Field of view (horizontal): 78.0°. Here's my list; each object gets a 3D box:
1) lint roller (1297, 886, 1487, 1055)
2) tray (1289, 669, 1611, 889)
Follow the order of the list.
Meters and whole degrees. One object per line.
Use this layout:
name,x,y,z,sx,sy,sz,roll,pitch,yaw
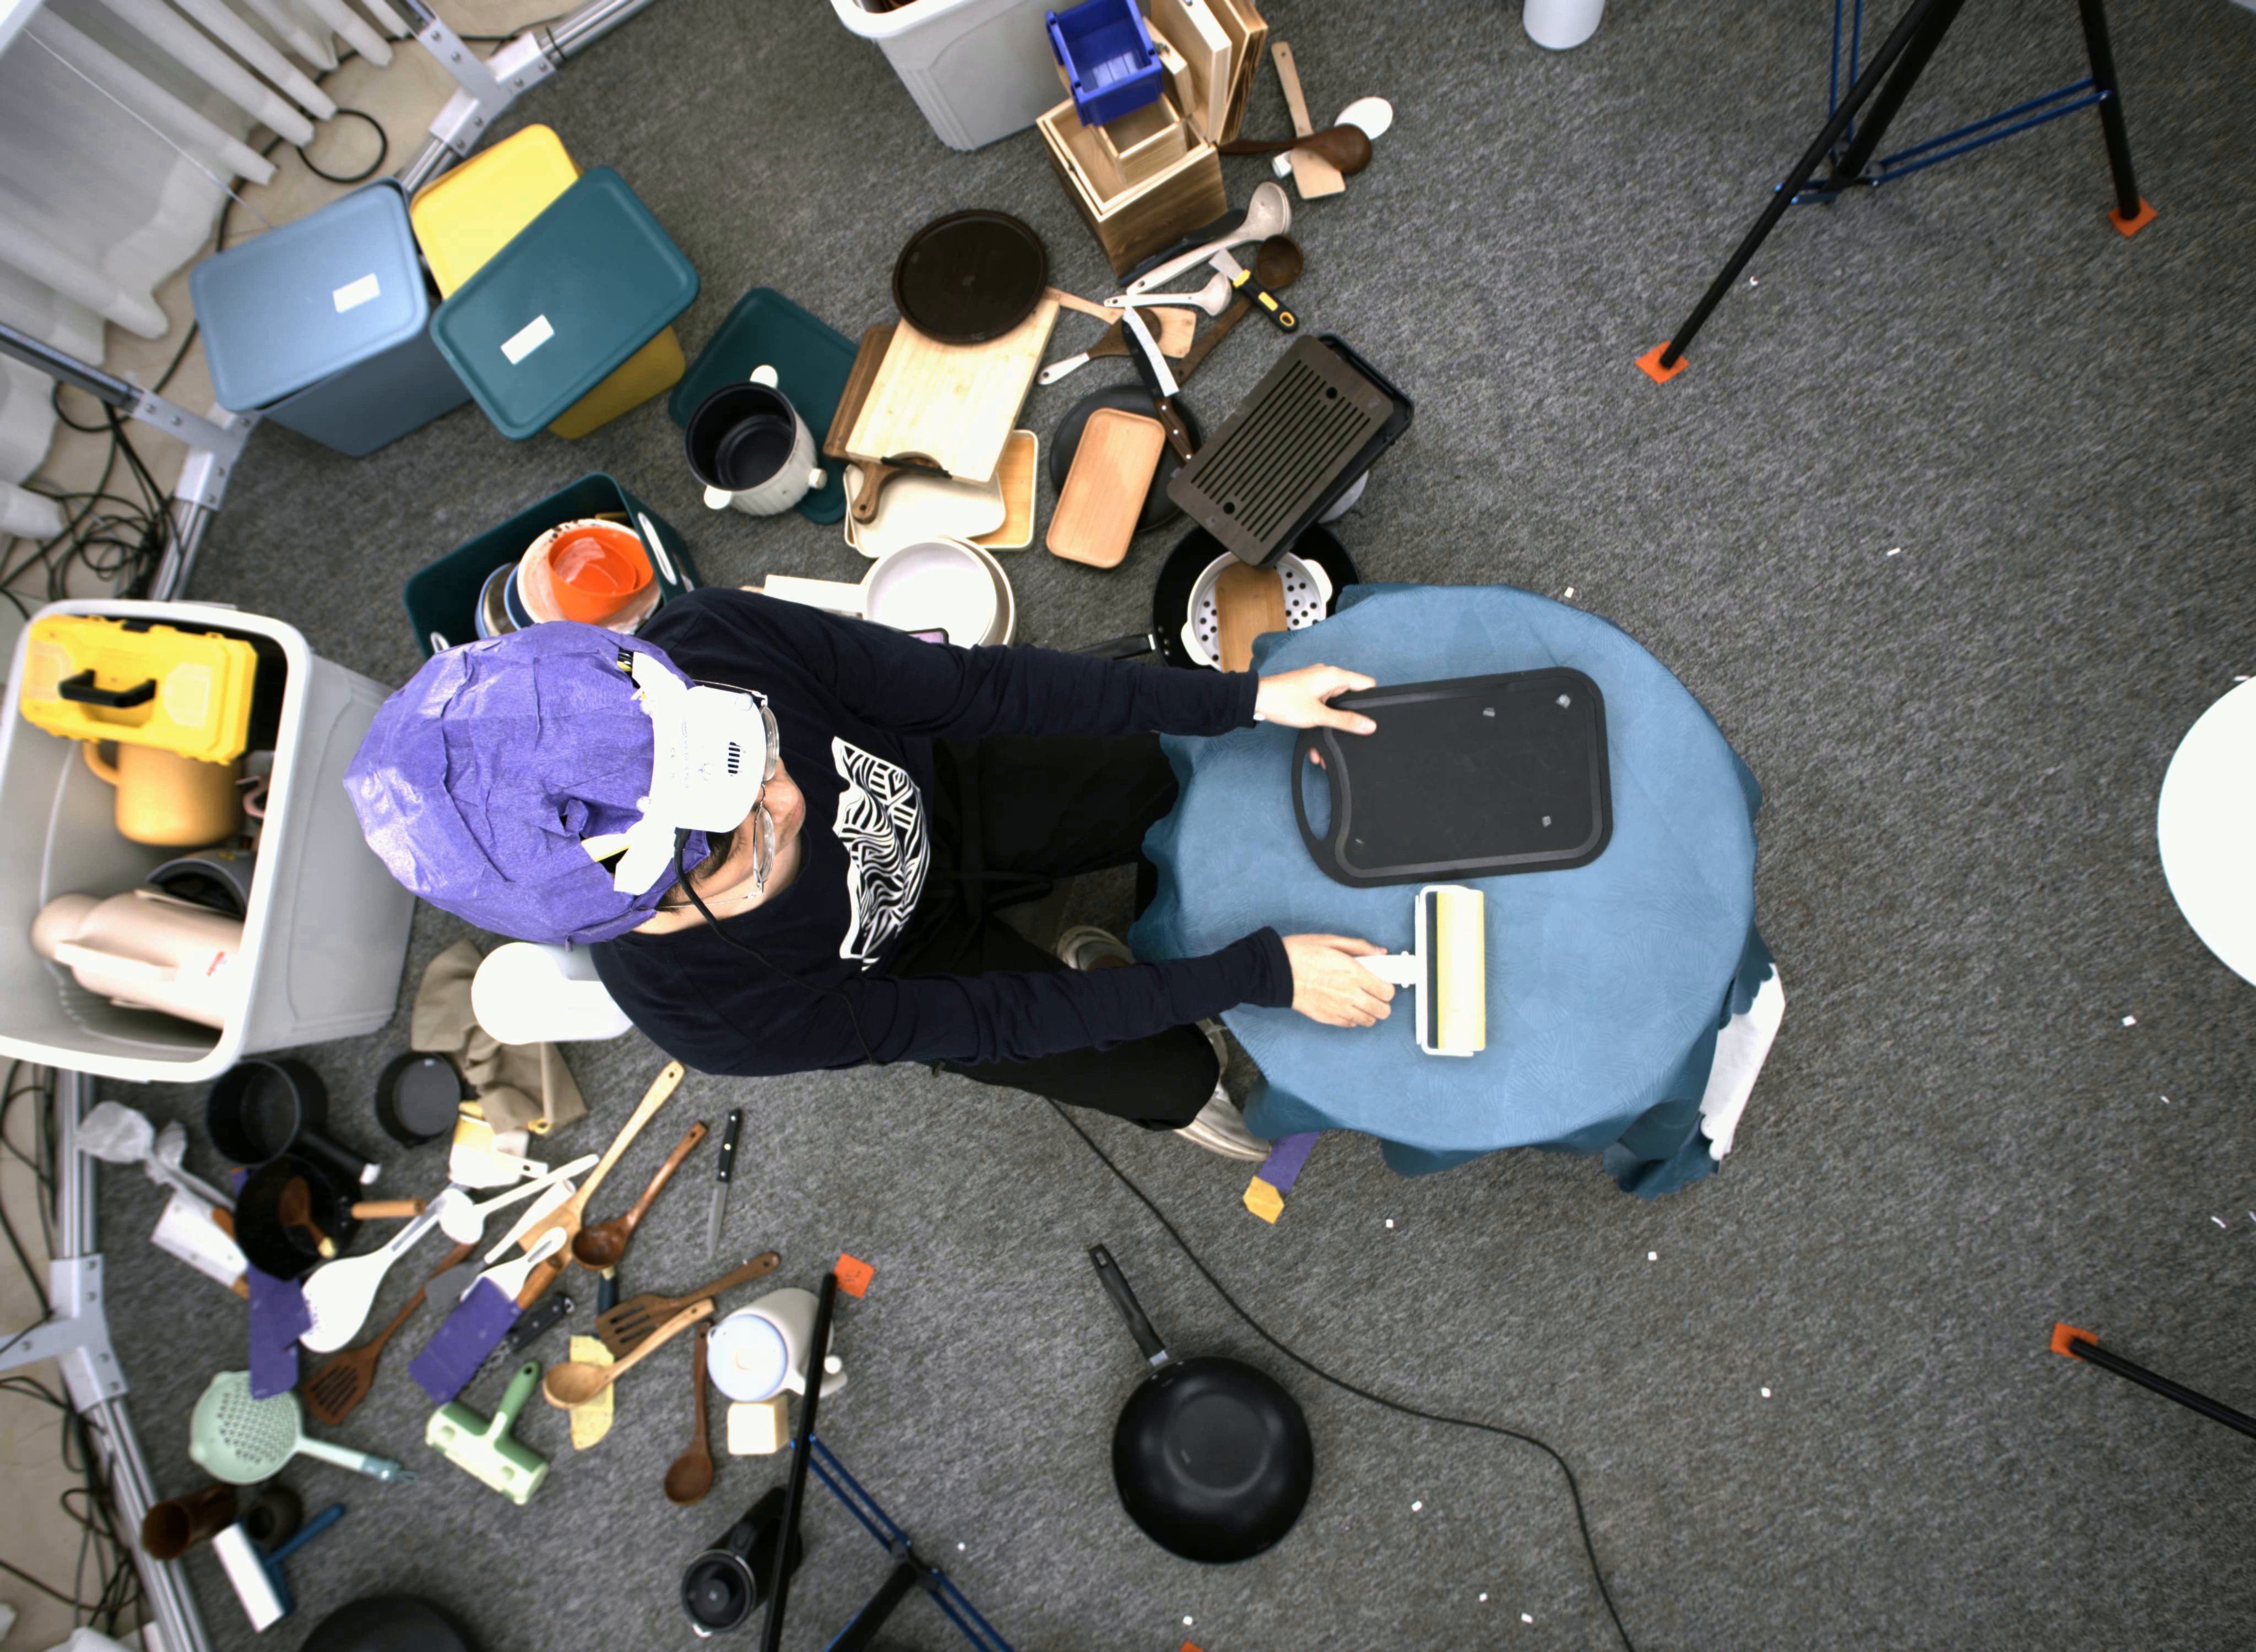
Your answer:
lint roller,0.271,0.149,1.430,0.192,0.051,0.173,-2,85,8
tray,0.331,-0.047,1.424,0.327,0.009,0.212,-6,100,10
